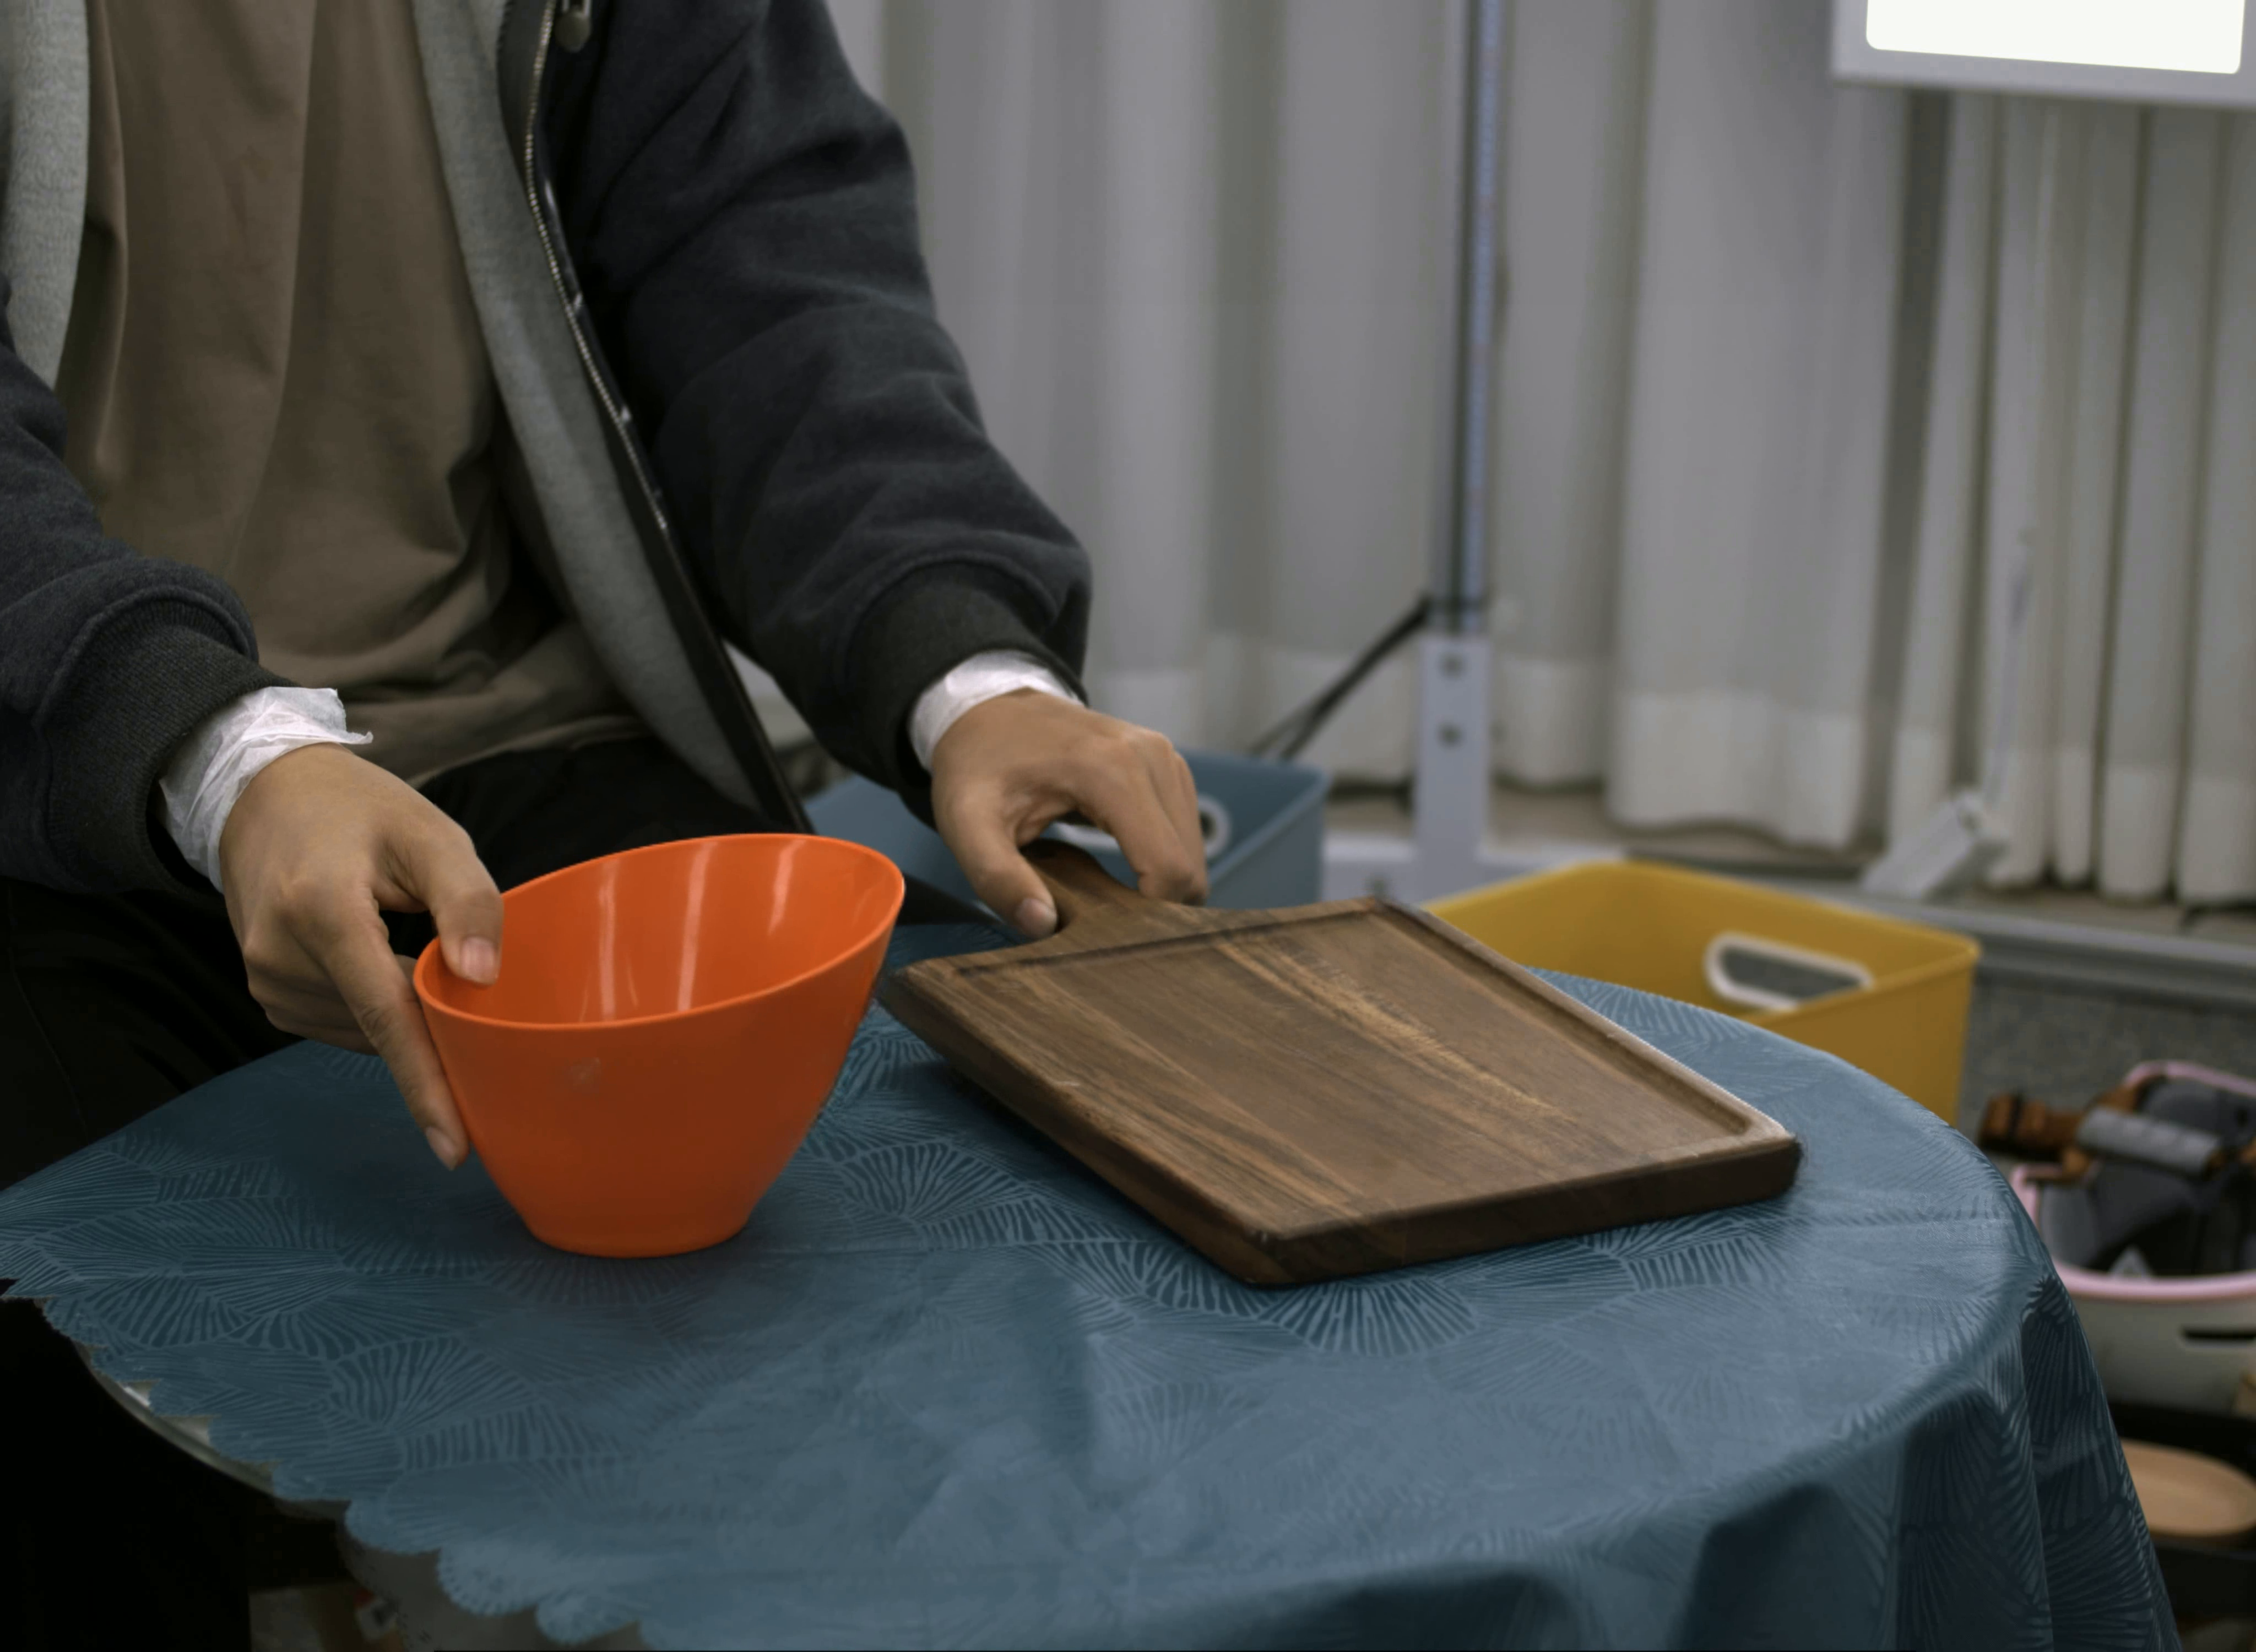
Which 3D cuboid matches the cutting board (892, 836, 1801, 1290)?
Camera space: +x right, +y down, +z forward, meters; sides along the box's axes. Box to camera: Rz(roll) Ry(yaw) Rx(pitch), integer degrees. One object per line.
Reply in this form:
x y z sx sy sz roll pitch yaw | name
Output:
0.042 0.064 1.719 0.202 0.023 0.347 -8 21 -28 | cutting board

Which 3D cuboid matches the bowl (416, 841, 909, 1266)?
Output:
-0.138 0.071 1.580 0.147 0.105 0.147 0 16 1 | bowl
